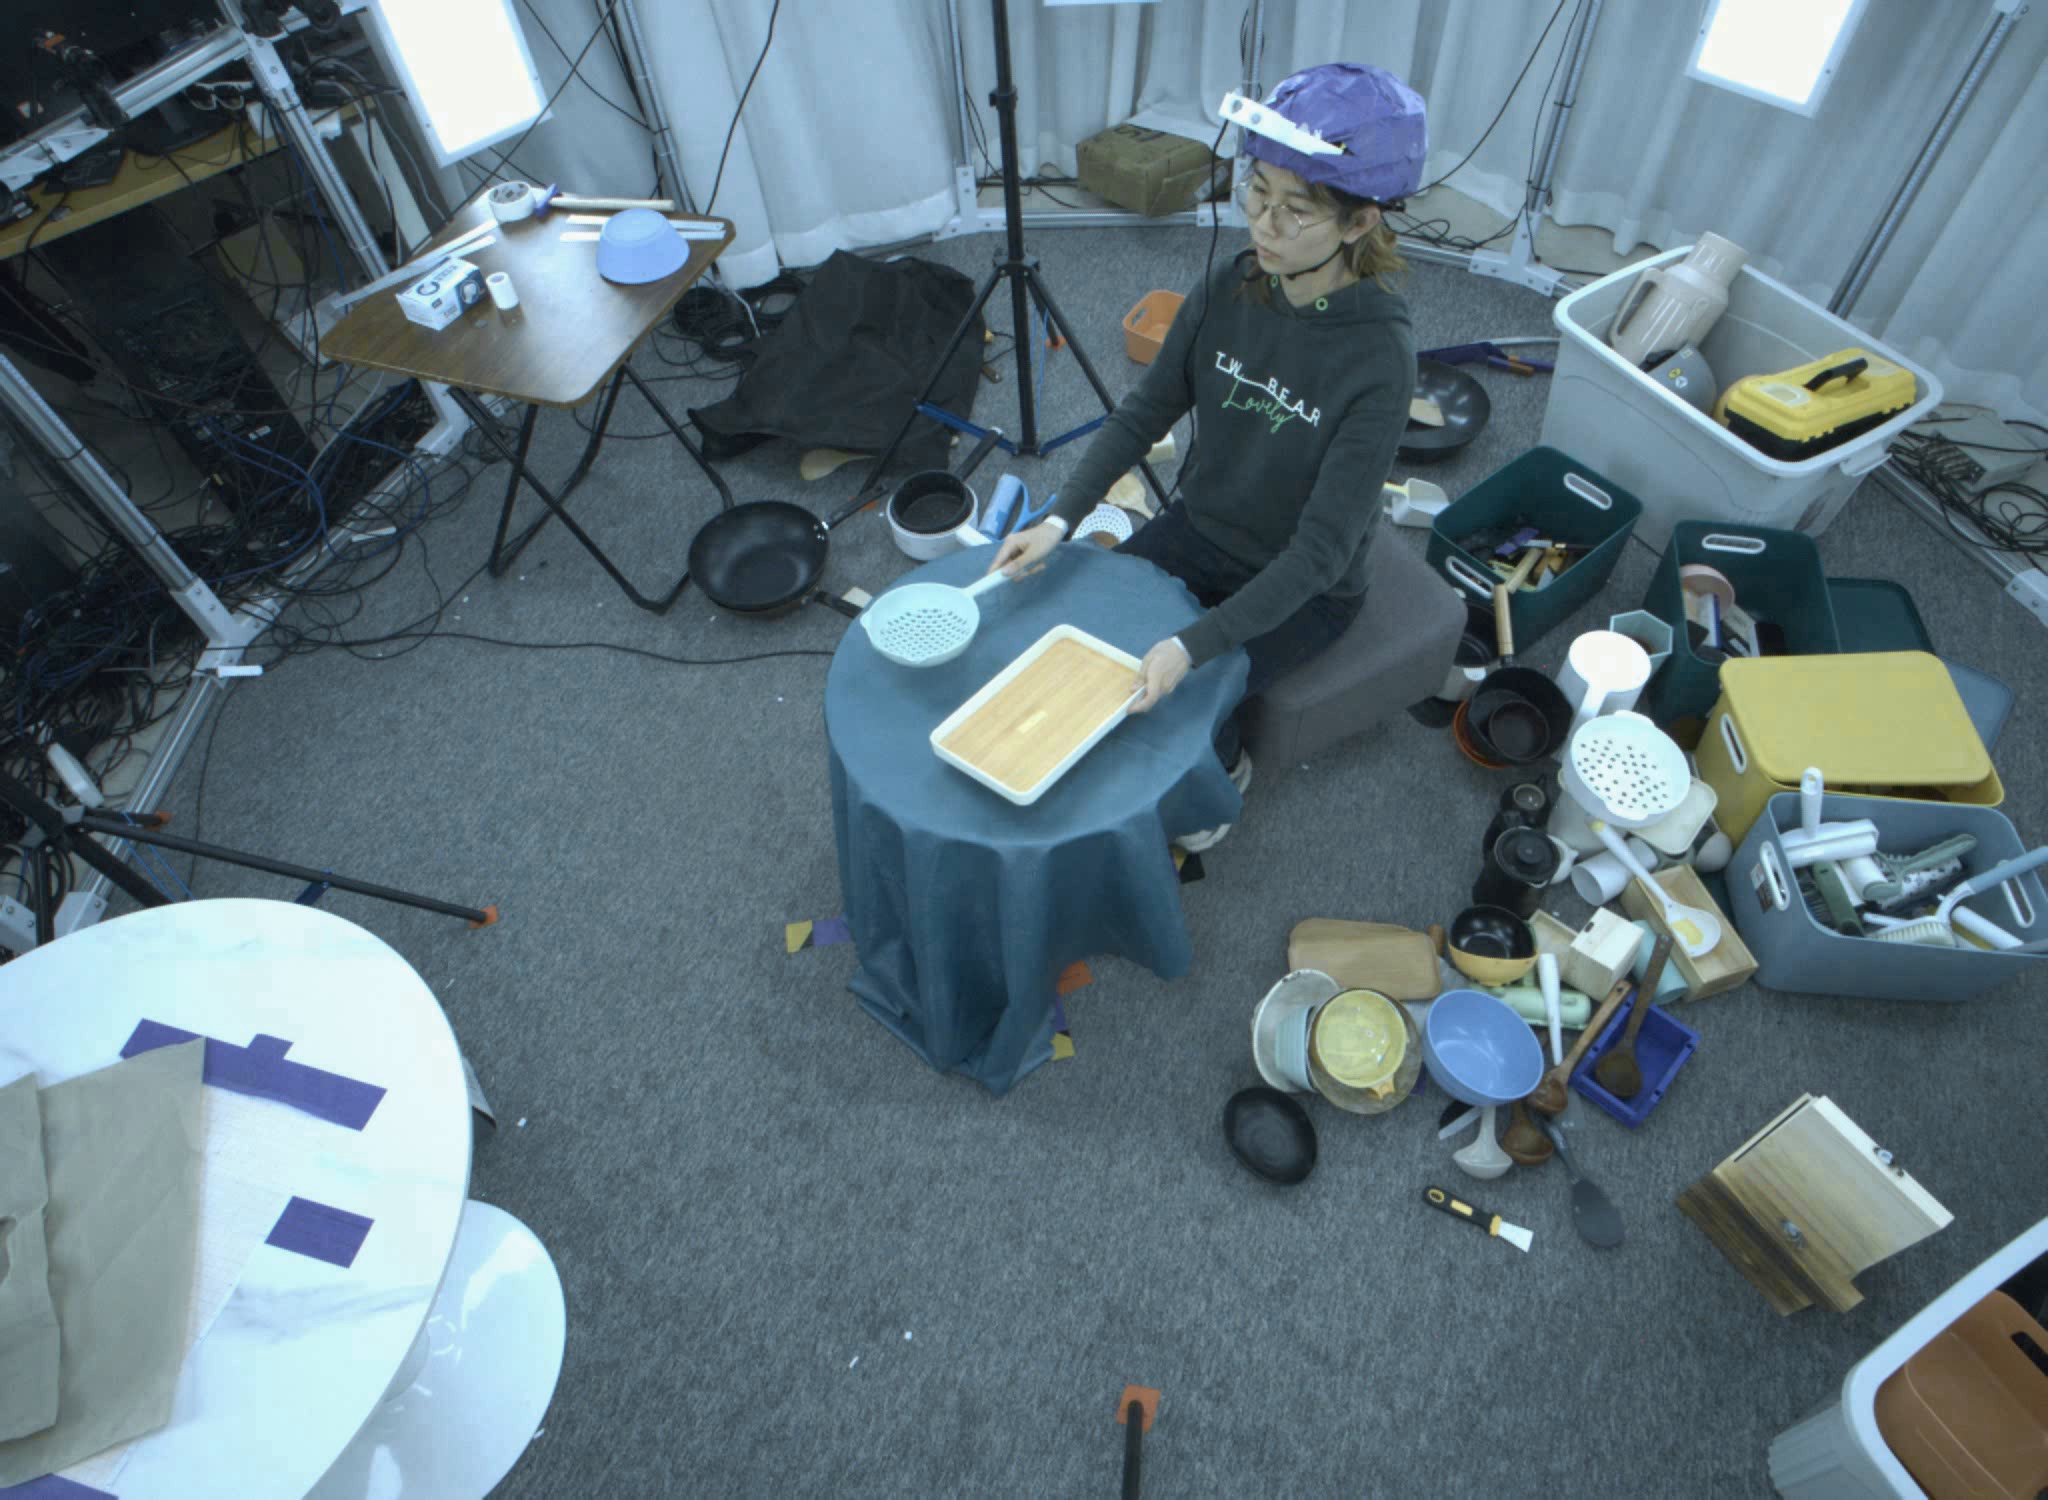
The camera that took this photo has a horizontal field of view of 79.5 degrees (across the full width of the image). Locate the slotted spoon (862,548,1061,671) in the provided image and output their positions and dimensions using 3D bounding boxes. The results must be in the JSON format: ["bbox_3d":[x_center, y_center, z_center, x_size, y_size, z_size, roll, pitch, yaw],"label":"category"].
[{"bbox_3d":[-0.079,-0.233,1.884,0.361,0.076,0.166,-40,60,-21],"label":"slotted spoon"}]

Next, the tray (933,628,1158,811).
[{"bbox_3d":[0.034,-0.051,1.763,0.188,0.028,0.302,31,59,29],"label":"tray"}]
